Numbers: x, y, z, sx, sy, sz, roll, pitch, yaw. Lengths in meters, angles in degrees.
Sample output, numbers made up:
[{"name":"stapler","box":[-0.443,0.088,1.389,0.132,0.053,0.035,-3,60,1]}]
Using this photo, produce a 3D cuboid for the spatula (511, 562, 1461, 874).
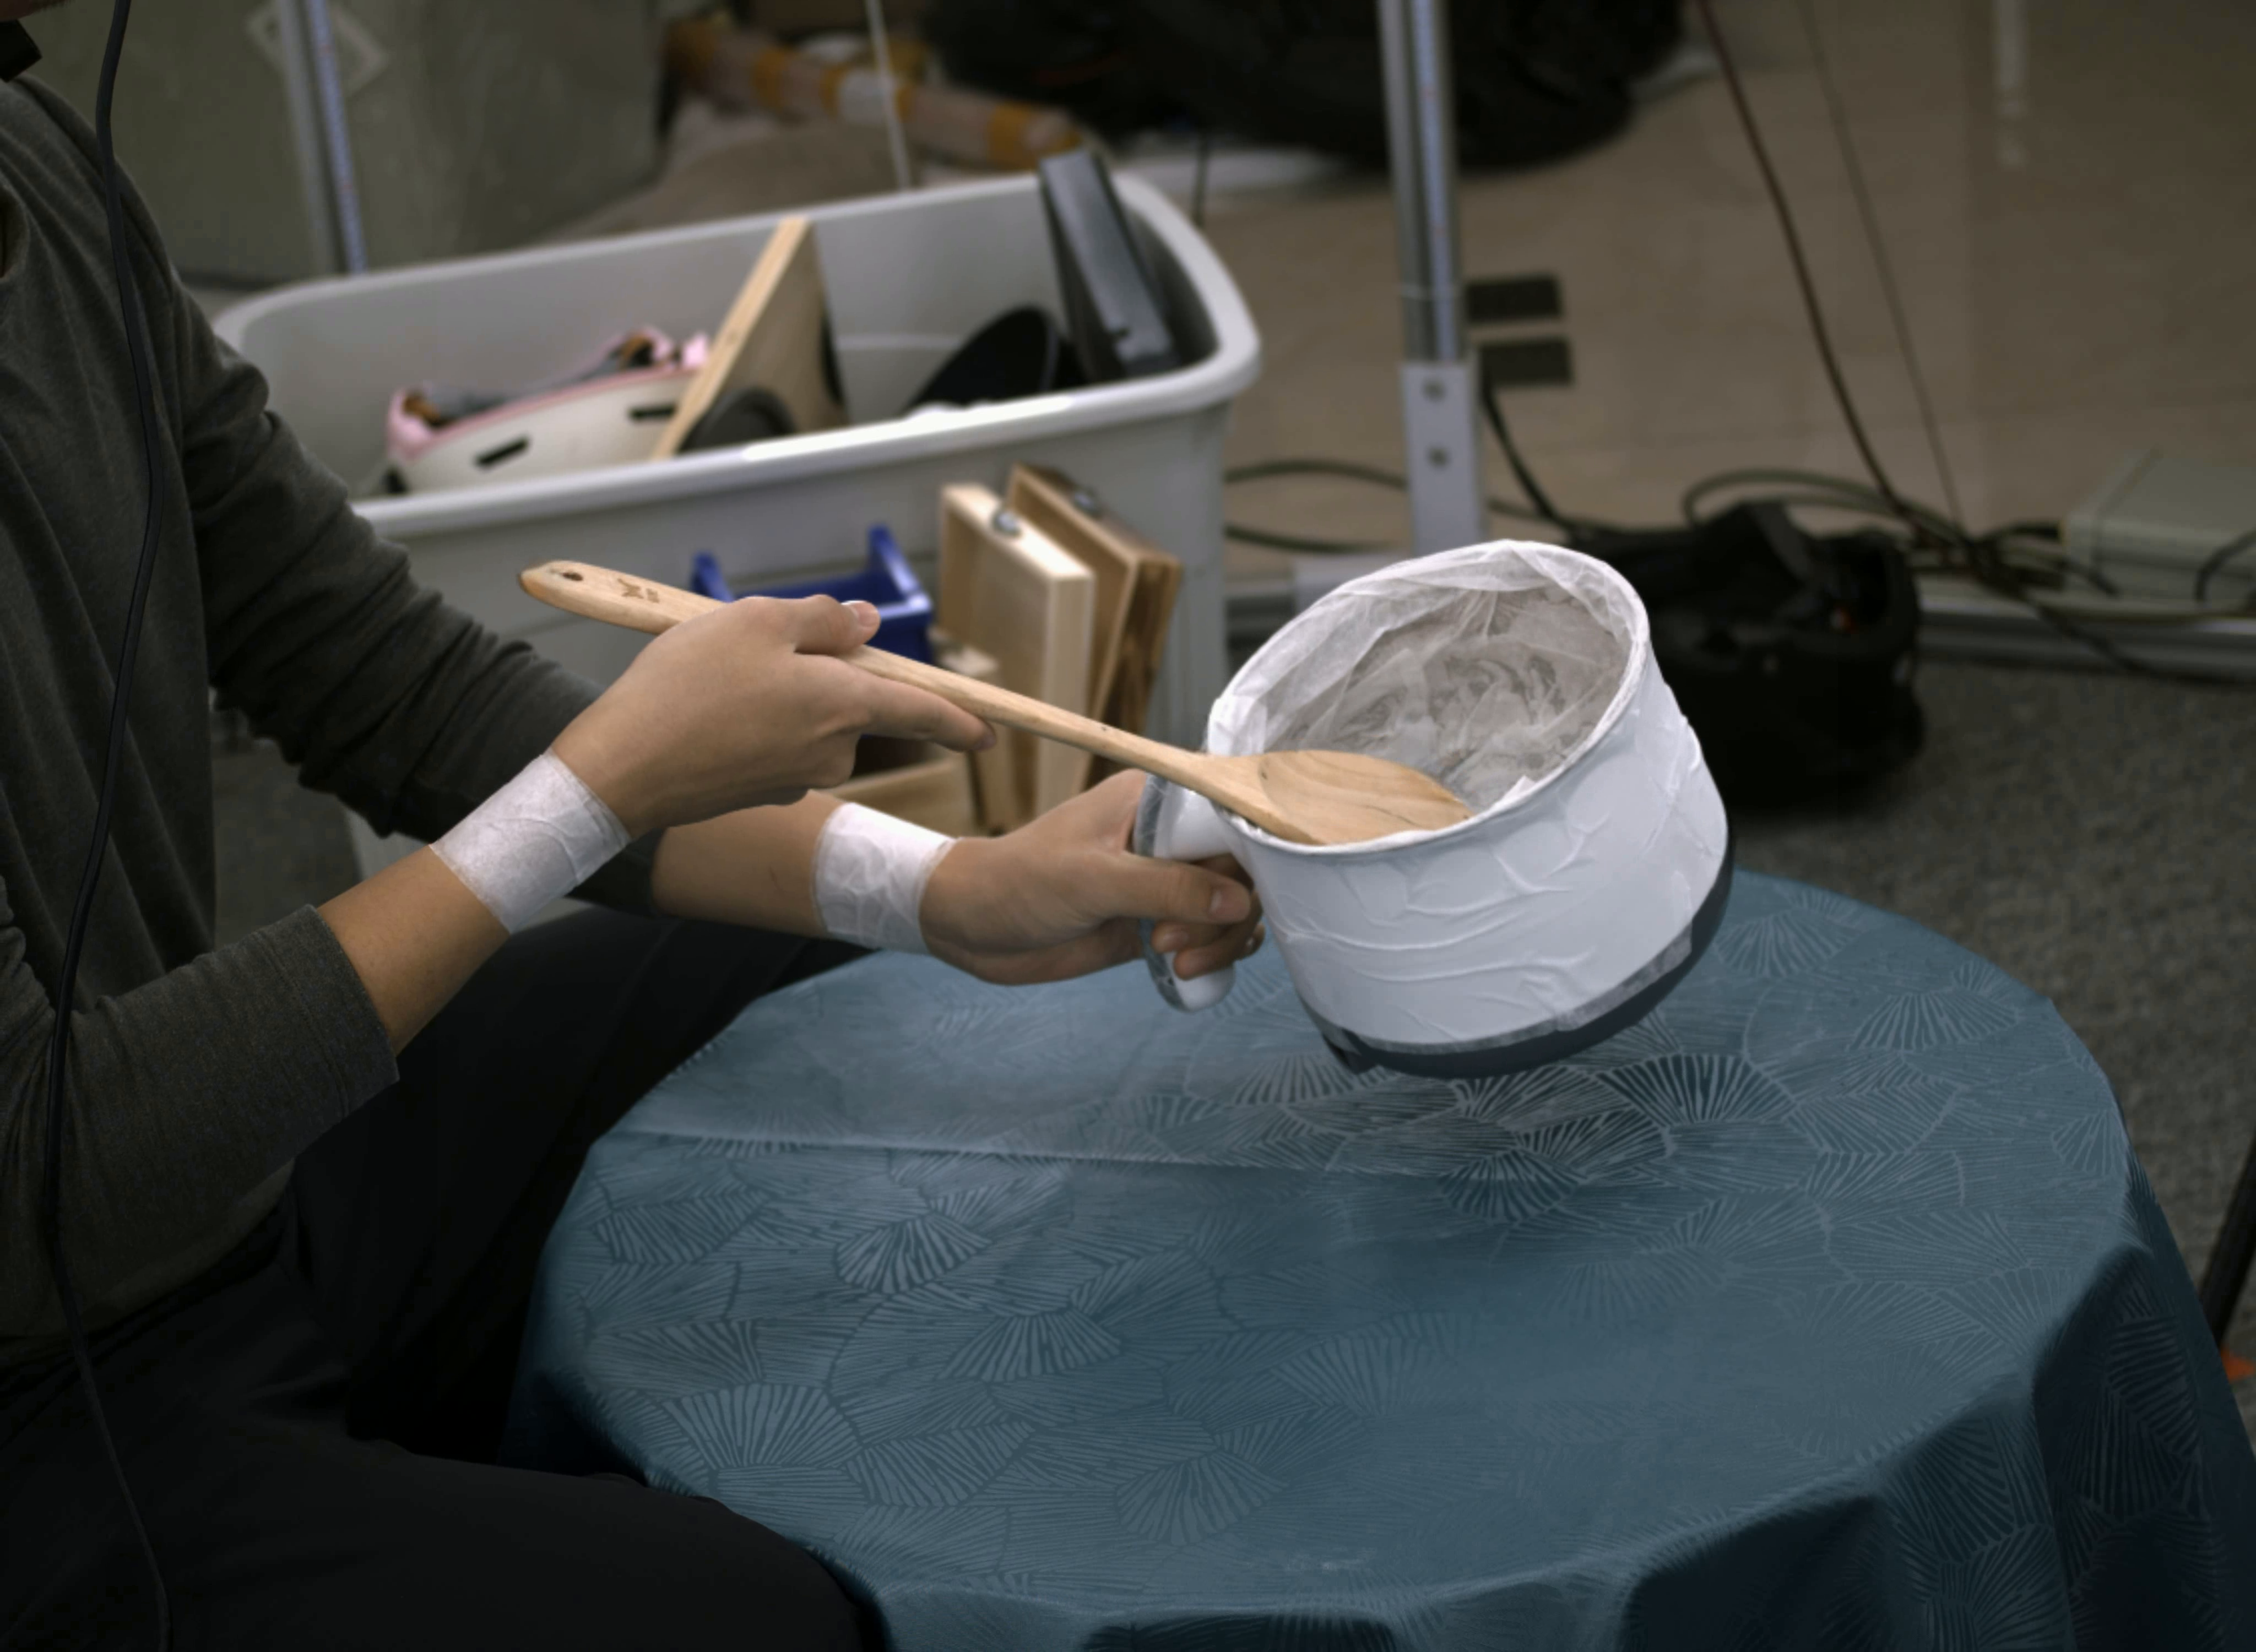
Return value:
[{"name":"spatula","box":[-0.040,-0.039,2.056,0.392,0.019,0.094,16,23,-22]}]

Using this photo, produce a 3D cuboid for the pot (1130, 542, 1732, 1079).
[{"name":"pot","box":[0.105,0.004,2.143,0.234,0.139,0.175,-14,36,17]}]
